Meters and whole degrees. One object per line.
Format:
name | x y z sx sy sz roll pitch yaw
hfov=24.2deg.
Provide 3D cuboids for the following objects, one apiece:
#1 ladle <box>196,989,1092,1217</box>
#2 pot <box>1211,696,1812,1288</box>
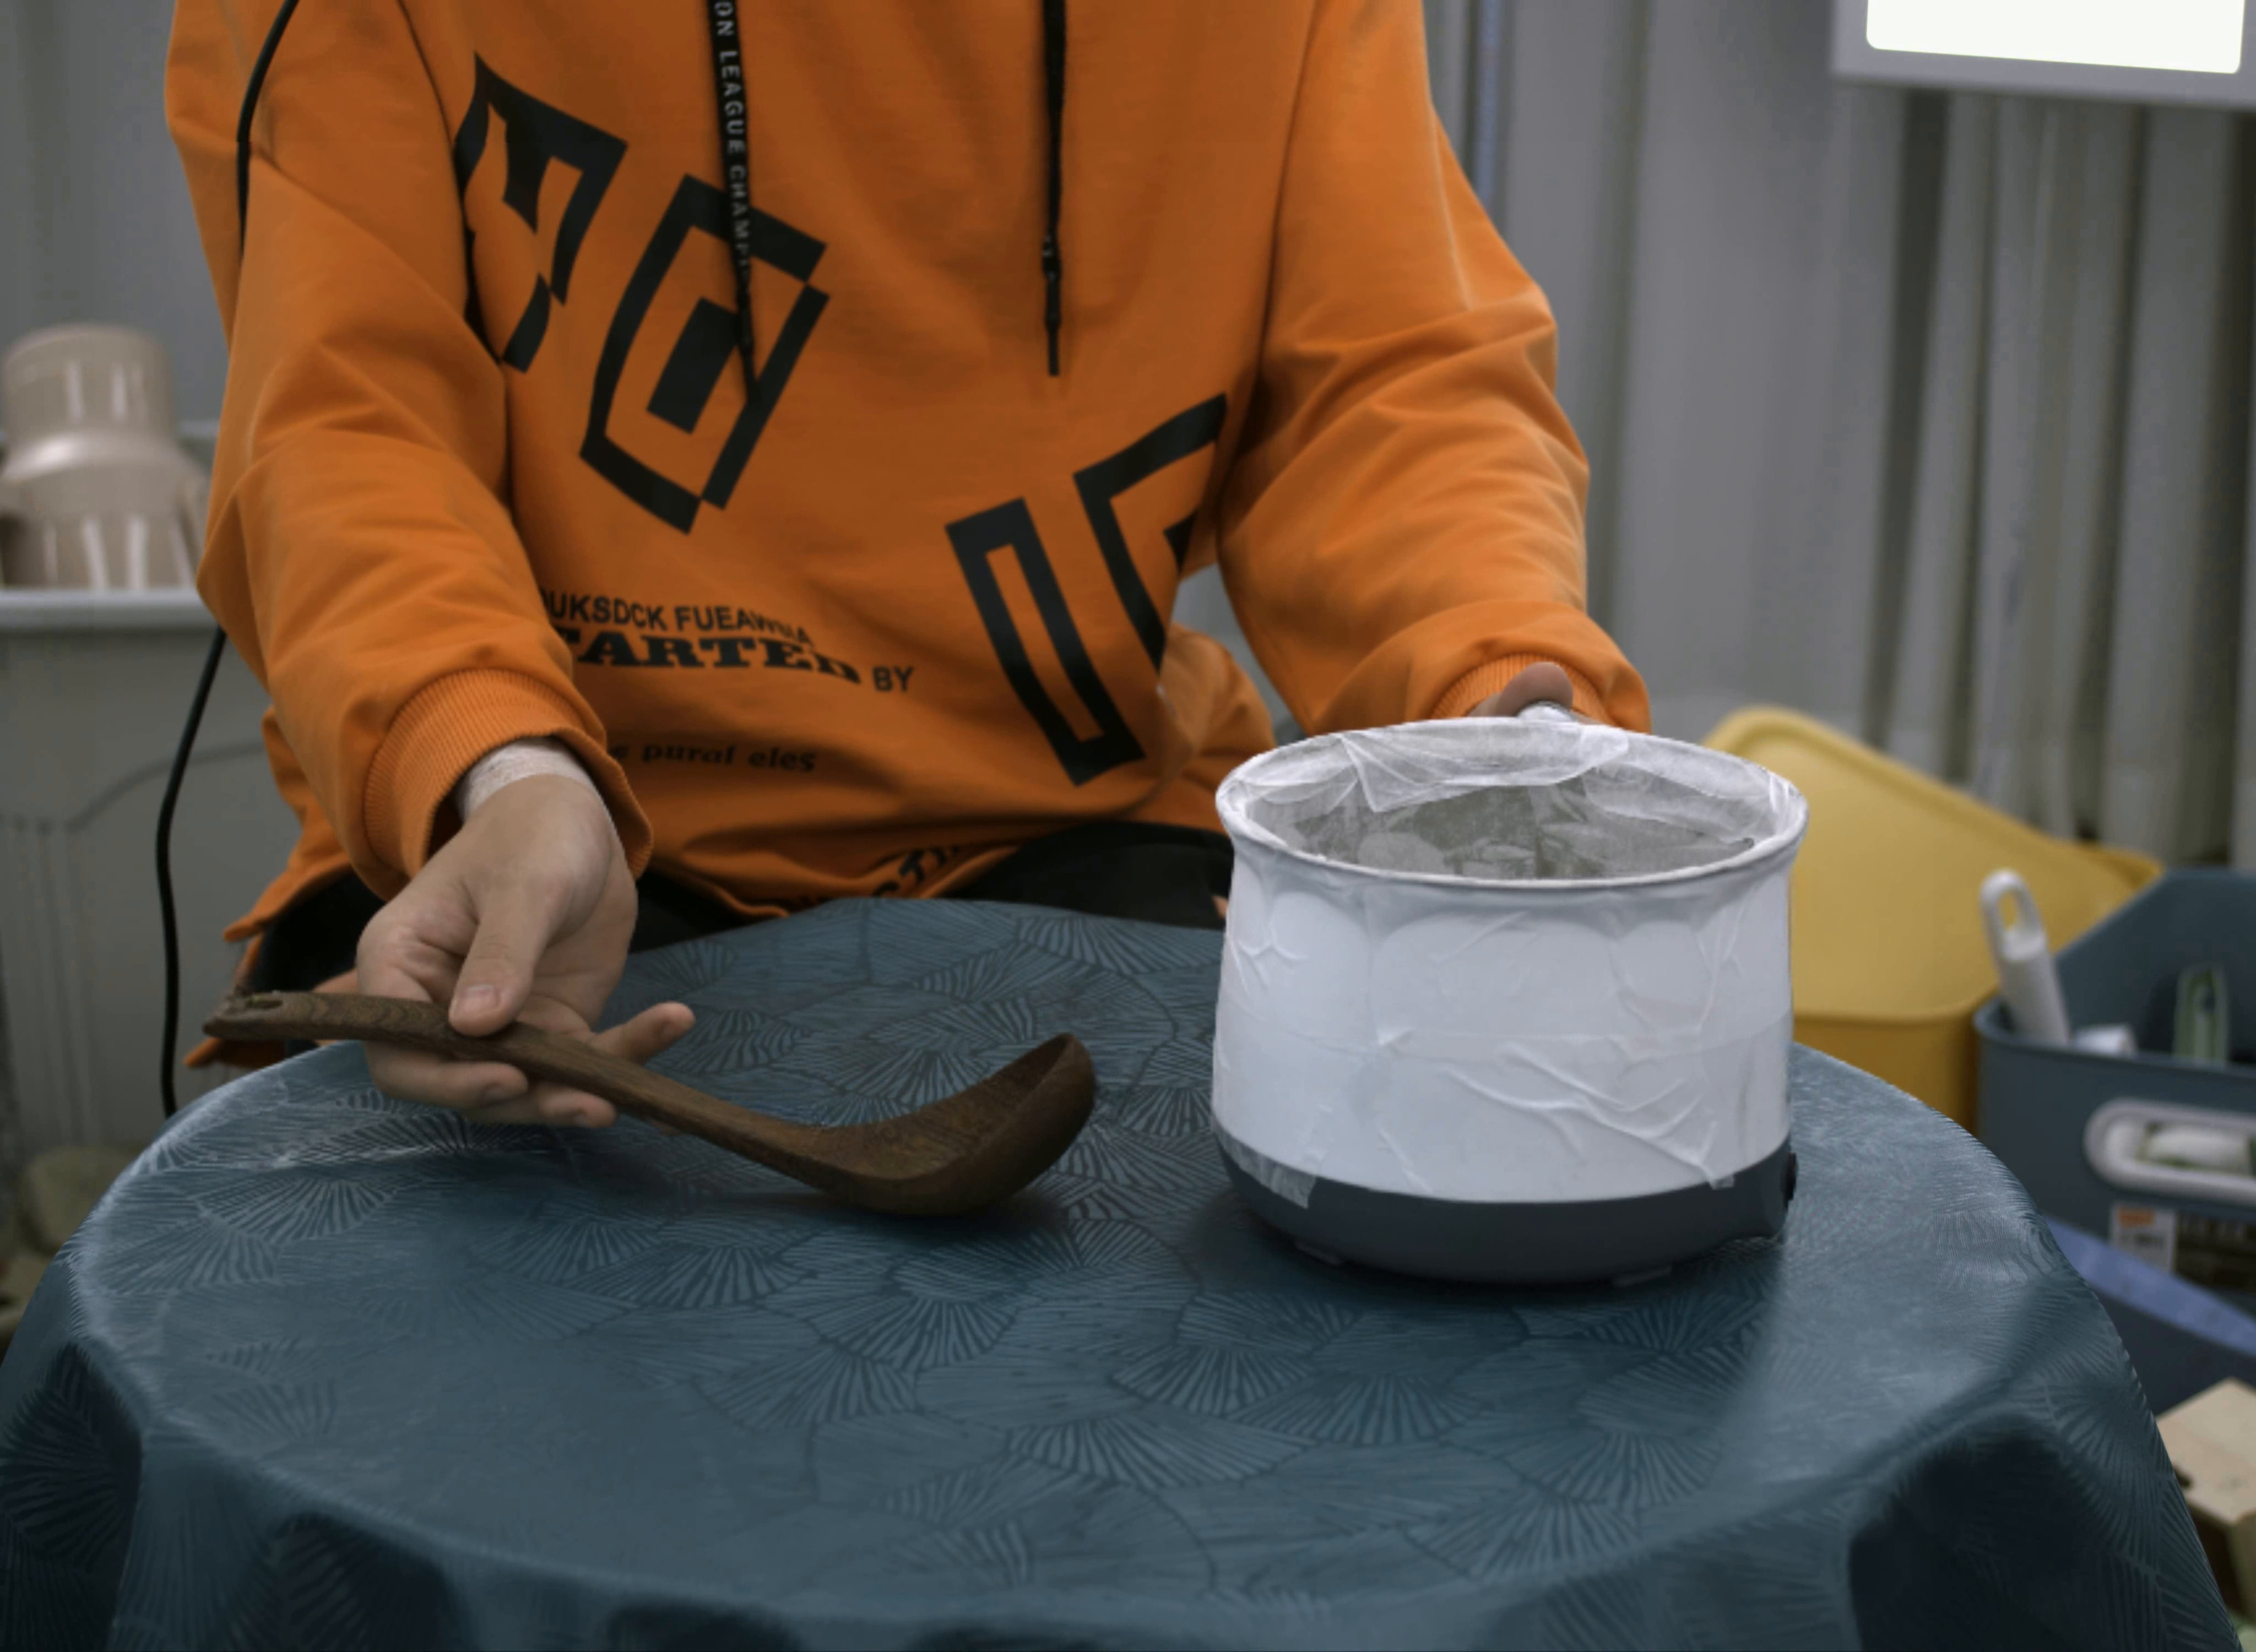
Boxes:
ladle | -0.147 0.062 1.602 0.273 0.072 0.076 15 17 4
pot | 0.117 0.044 1.609 0.178 0.138 0.233 4 17 7
